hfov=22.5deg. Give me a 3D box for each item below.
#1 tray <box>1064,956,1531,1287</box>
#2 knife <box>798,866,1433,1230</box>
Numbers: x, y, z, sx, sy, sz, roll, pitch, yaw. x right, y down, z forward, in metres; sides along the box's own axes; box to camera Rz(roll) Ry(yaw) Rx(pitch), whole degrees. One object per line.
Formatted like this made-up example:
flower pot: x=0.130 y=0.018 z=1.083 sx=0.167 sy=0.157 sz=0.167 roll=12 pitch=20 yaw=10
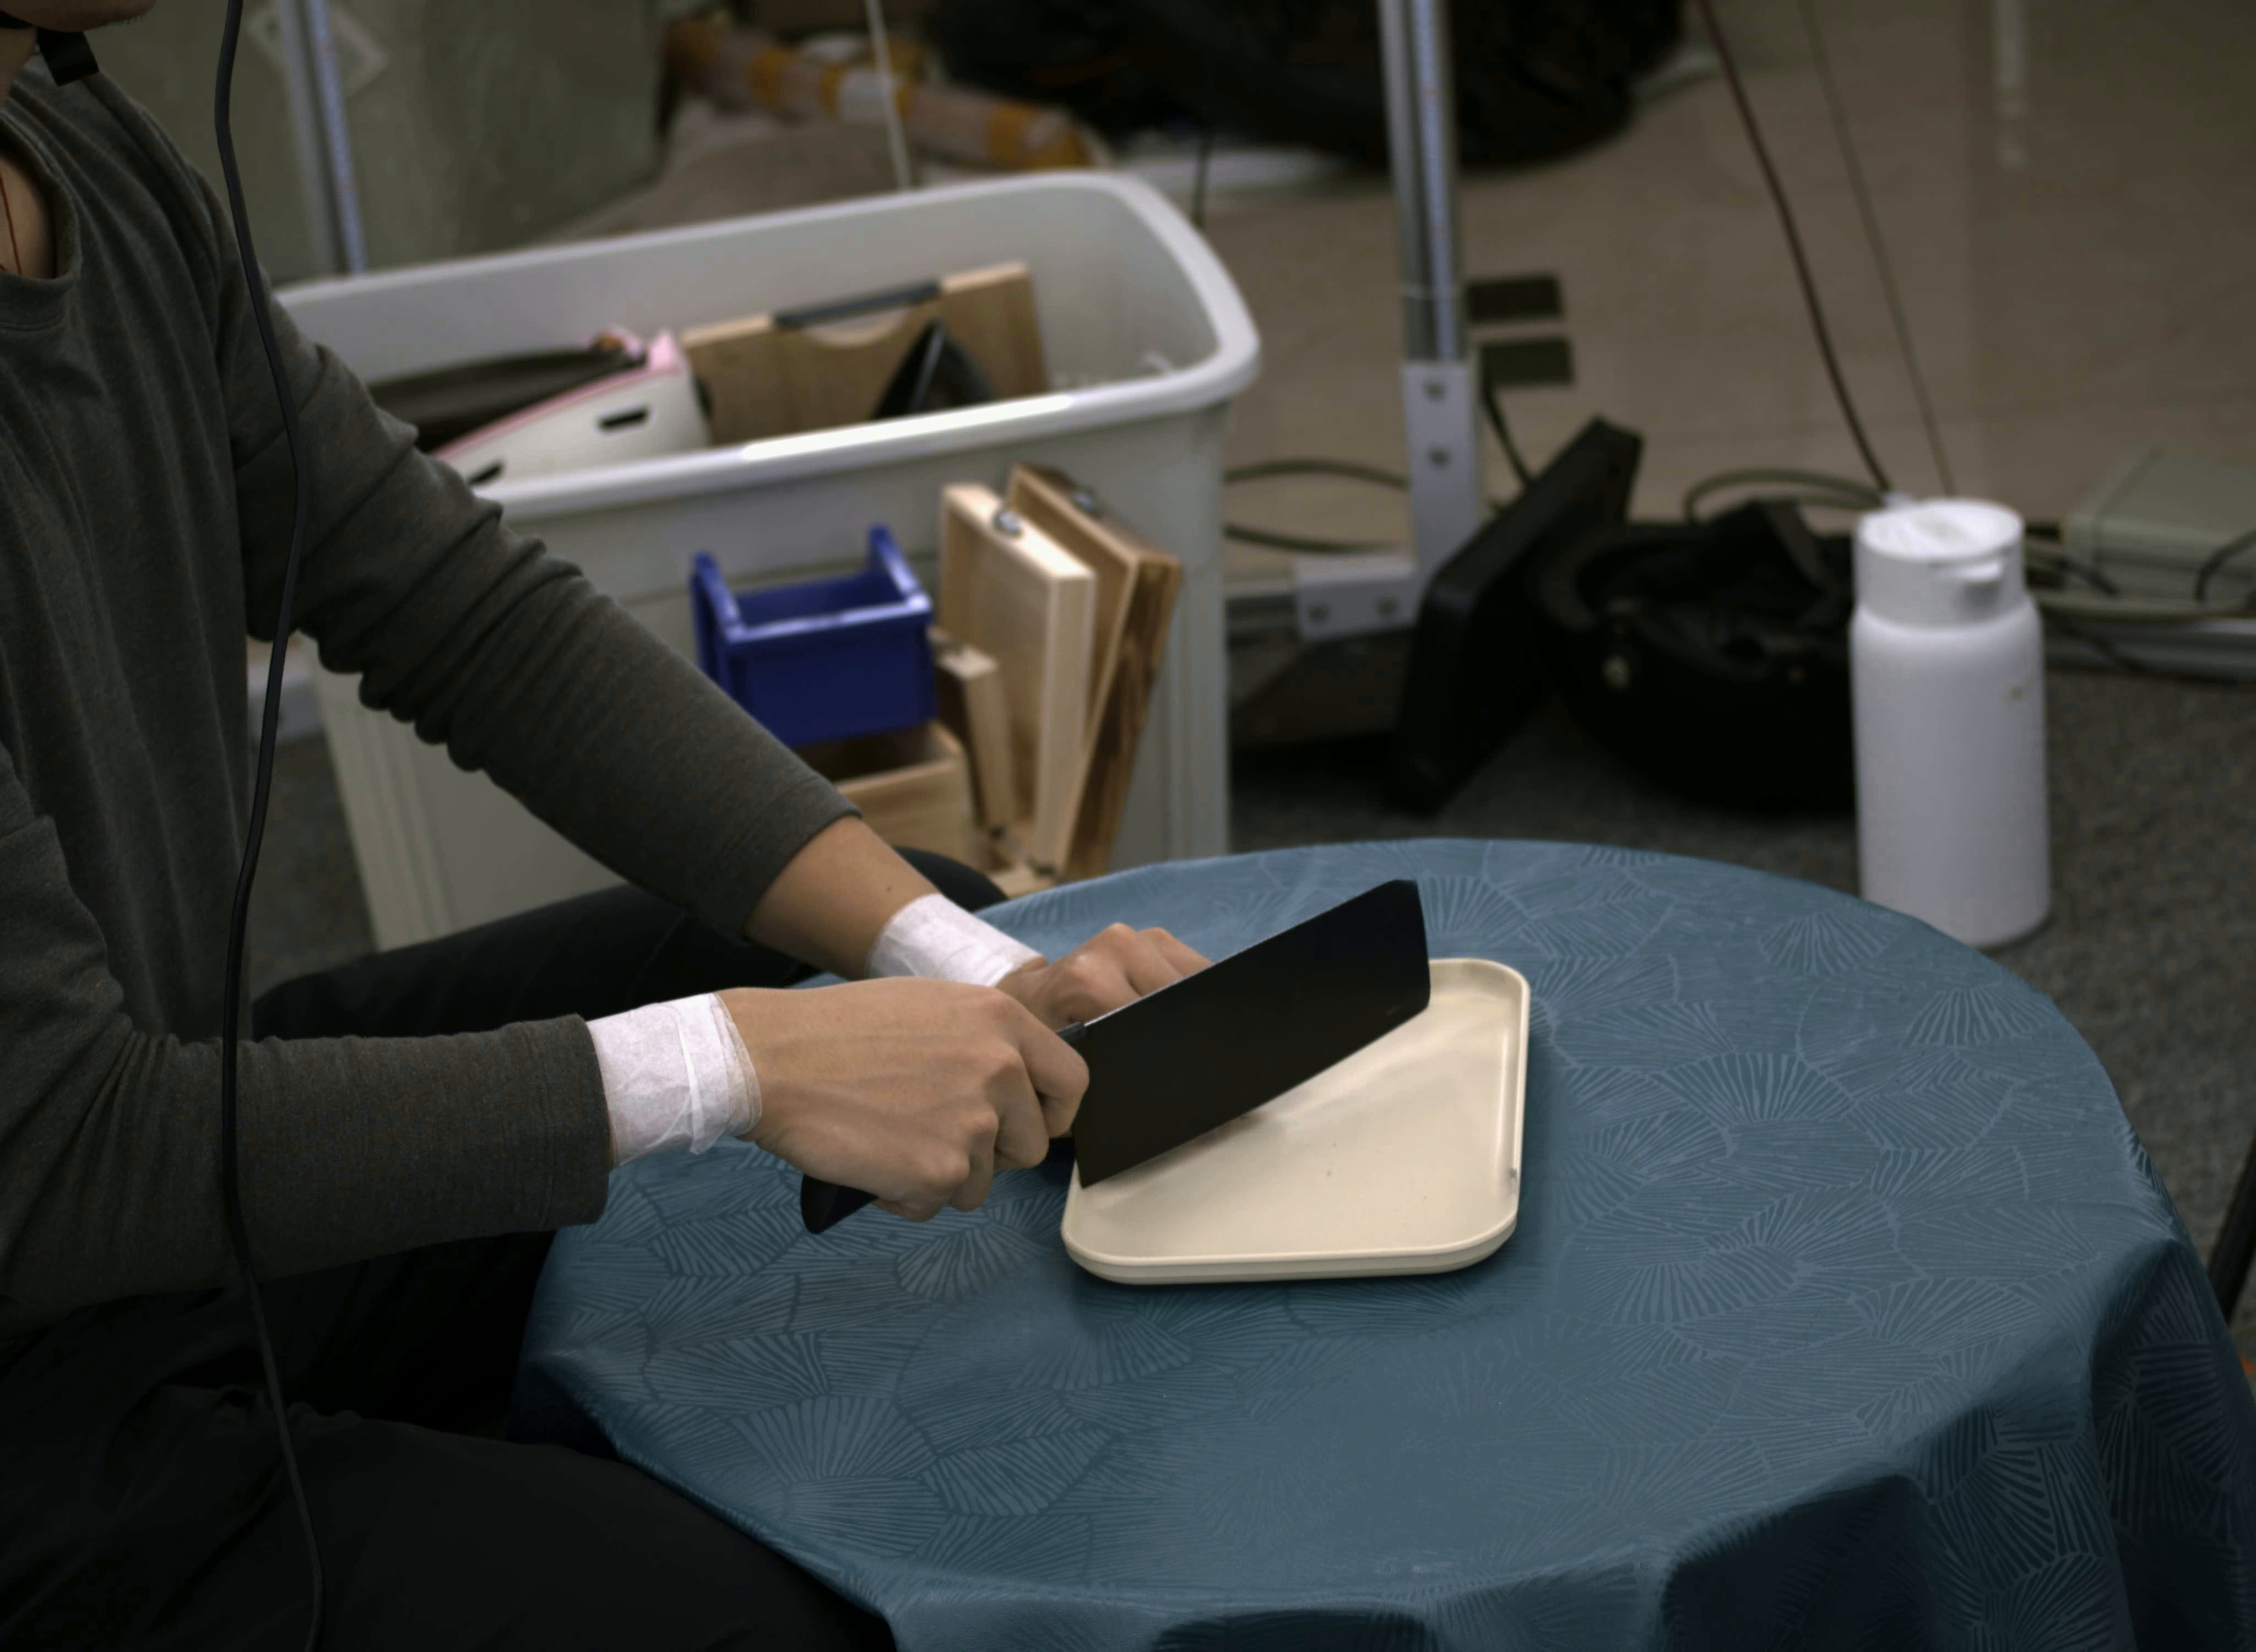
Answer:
tray: x=0.068 y=0.113 z=2.170 sx=0.171 sy=0.018 sz=0.236 roll=-4 pitch=25 yaw=8
knife: x=0.001 y=0.092 z=2.131 sx=0.300 sy=0.082 sz=0.020 roll=-20 pitch=27 yaw=-34
